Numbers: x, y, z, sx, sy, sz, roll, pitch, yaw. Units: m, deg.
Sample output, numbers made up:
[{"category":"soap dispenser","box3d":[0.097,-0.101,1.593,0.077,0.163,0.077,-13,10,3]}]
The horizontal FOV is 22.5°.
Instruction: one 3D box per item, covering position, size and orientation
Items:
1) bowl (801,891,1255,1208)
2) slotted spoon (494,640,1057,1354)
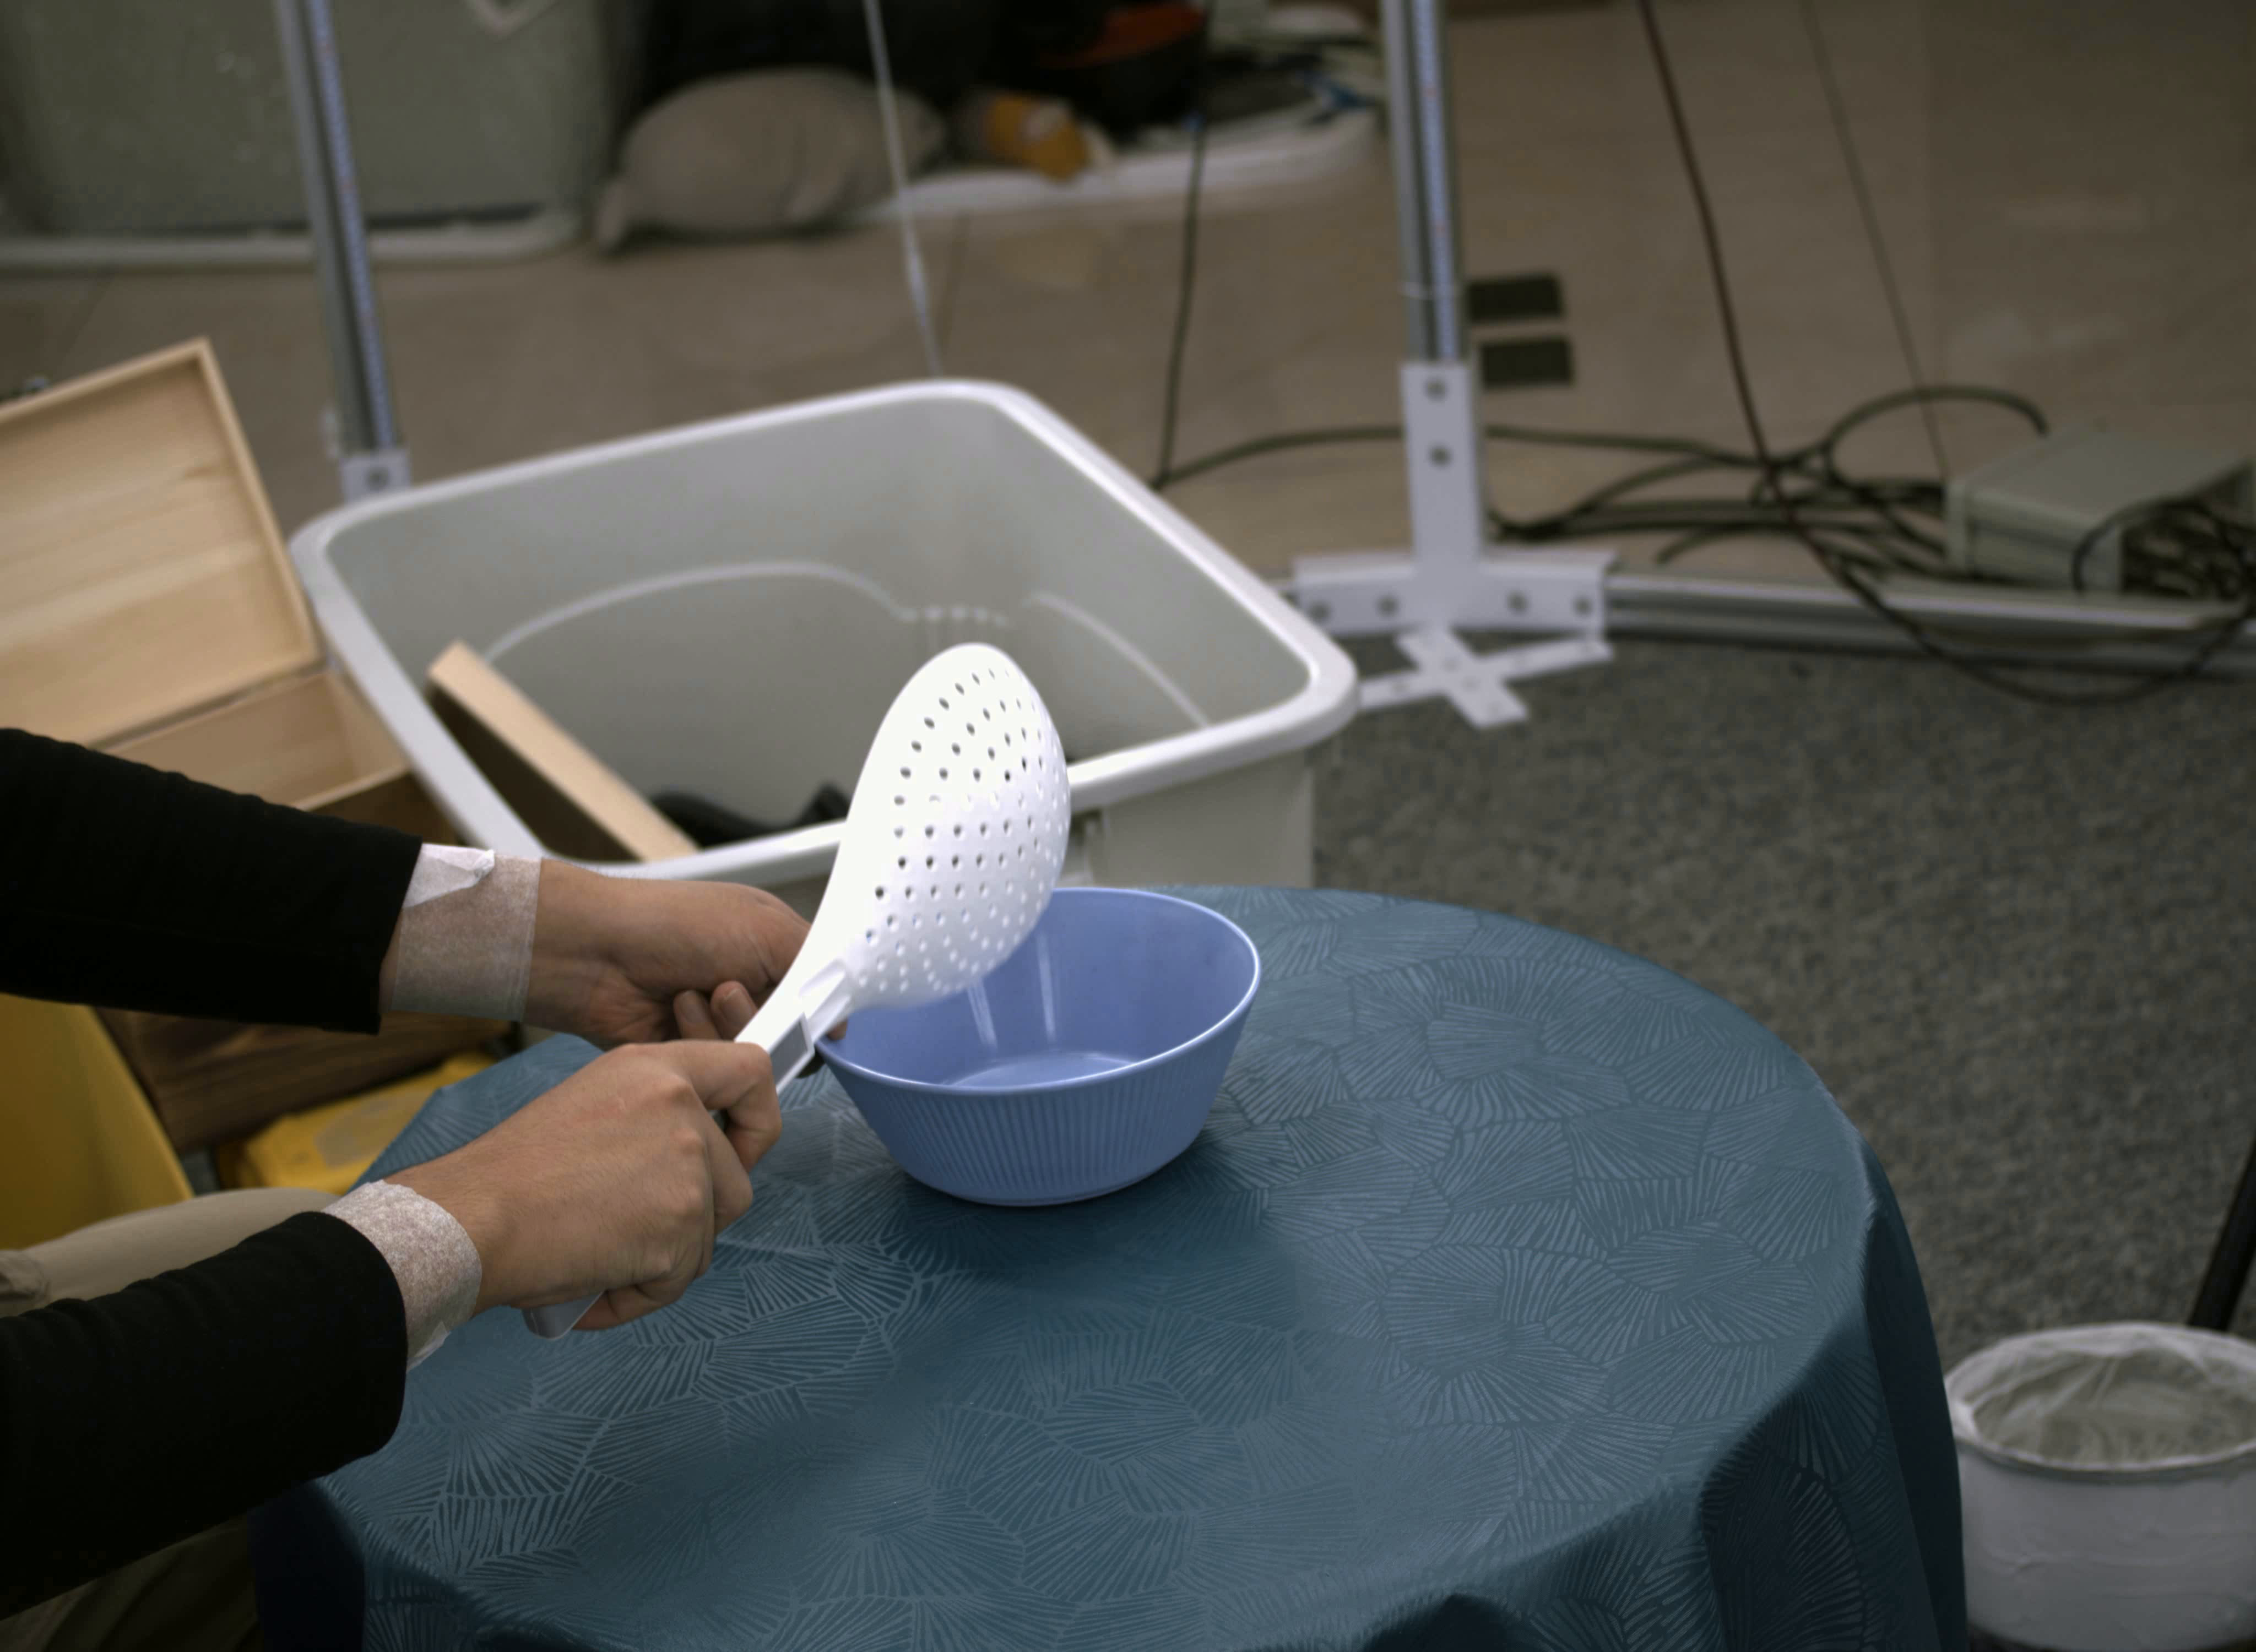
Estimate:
[{"category":"bowl","box3d":[-0.035,0.091,2.175,0.176,0.071,0.173,-6,25,3]},{"category":"slotted spoon","box3d":[-0.121,0.065,2.031,0.045,0.139,0.345,20,49,32]}]
